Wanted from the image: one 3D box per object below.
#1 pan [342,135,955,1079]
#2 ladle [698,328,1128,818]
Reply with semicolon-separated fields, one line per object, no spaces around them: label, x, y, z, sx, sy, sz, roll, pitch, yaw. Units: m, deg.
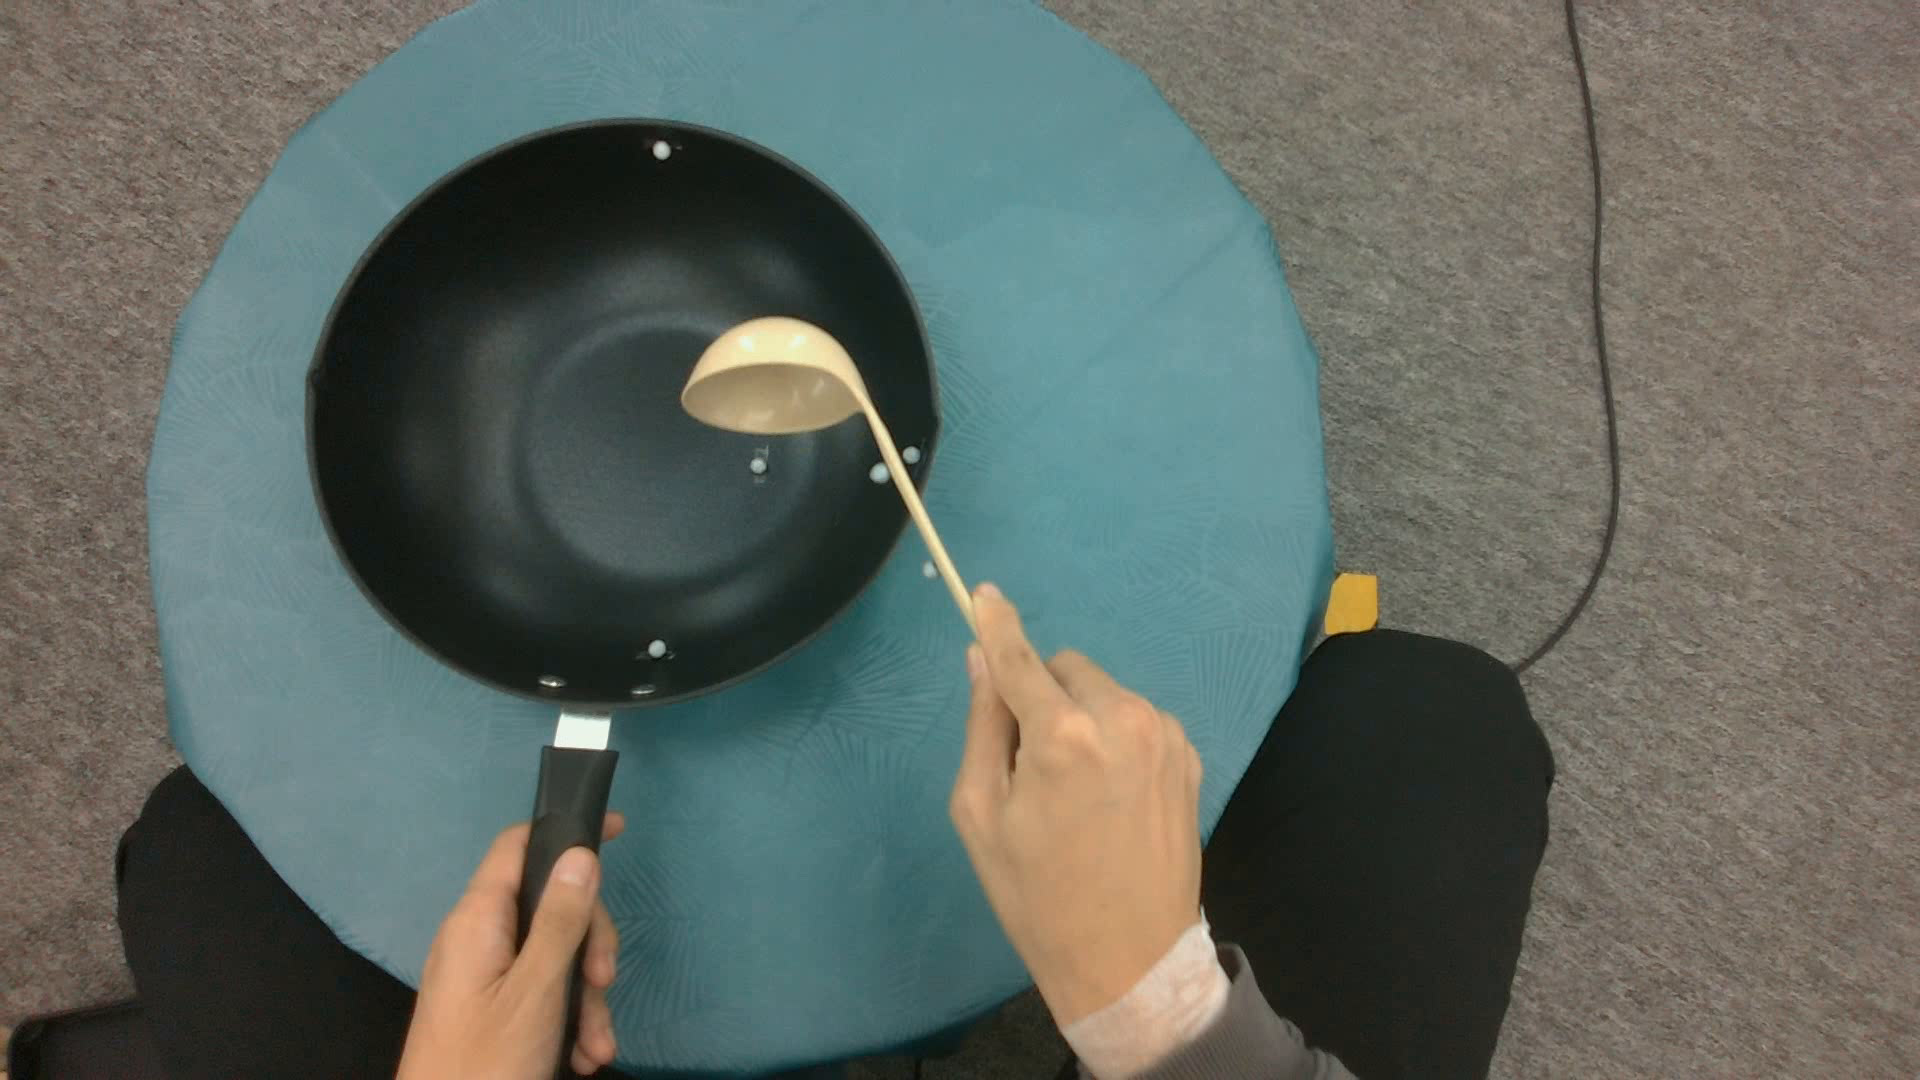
pan;-0.154;0.037;0.659;0.288;0.086;0.464;5;78;1
ladle;-0.028;0.019;0.555;0.073;0.072;0.255;-29;65;-4
